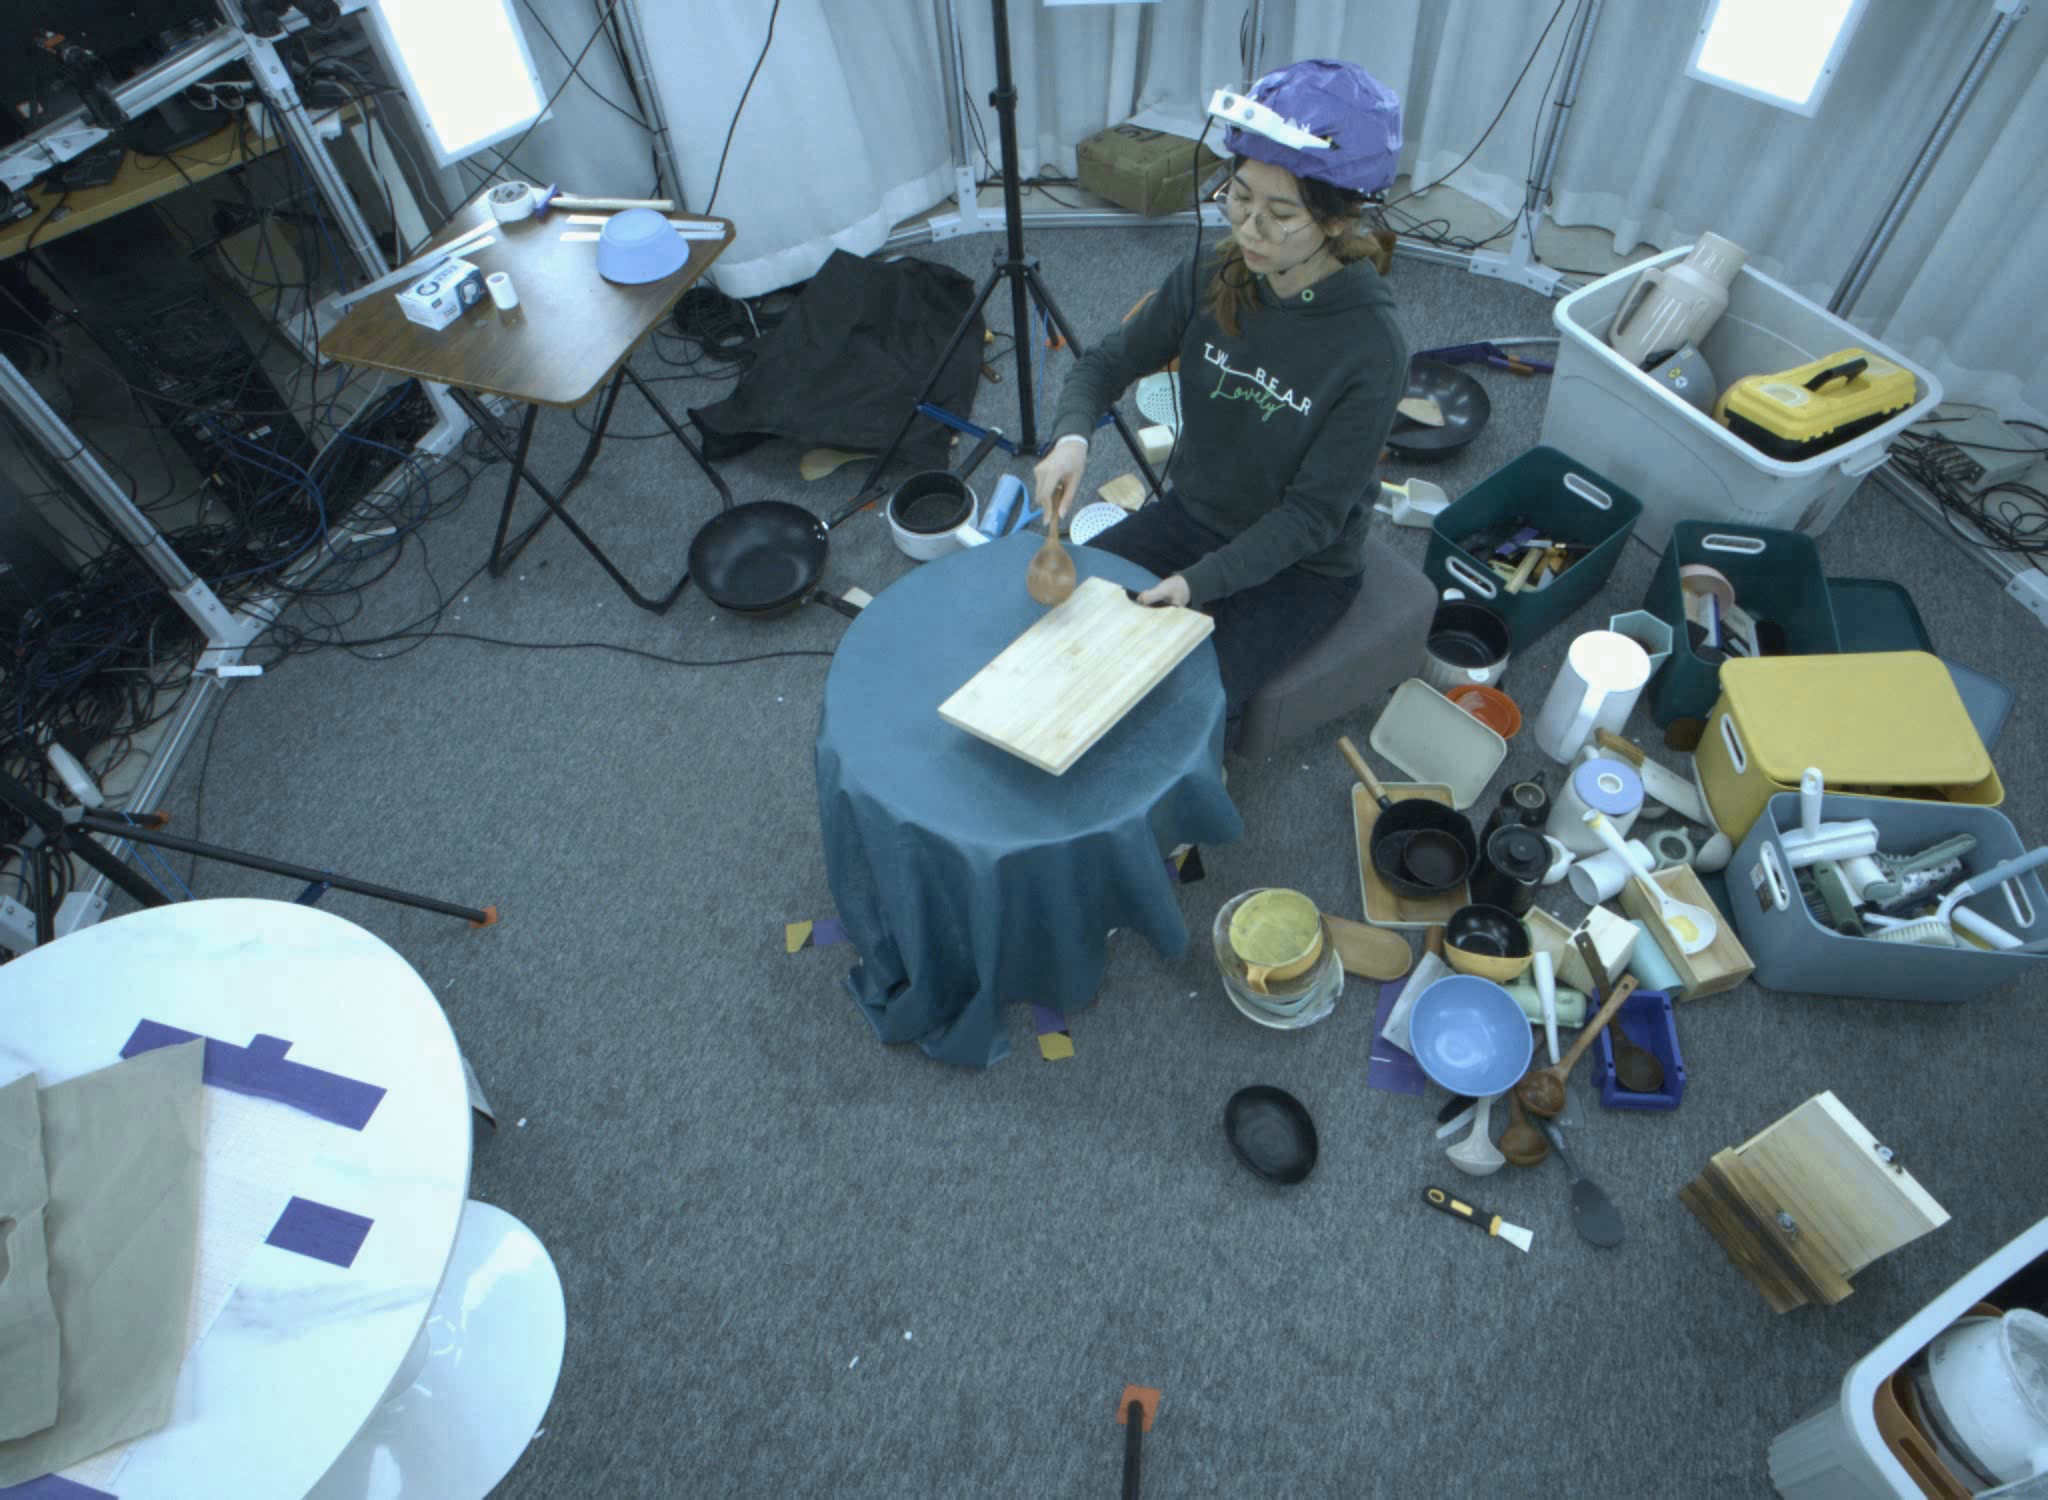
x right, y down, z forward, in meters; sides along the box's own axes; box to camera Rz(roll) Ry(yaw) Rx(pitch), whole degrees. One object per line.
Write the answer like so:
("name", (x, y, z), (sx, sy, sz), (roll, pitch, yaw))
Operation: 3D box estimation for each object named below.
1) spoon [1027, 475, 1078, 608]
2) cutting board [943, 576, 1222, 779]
("spoon", (0.045, -0.312, 1.827), (0.075, 0.017, 0.215), (2, 77, 2))
("cutting board", (0.082, -0.114, 1.762), (0.245, 0.024, 0.351), (26, 59, 36))
